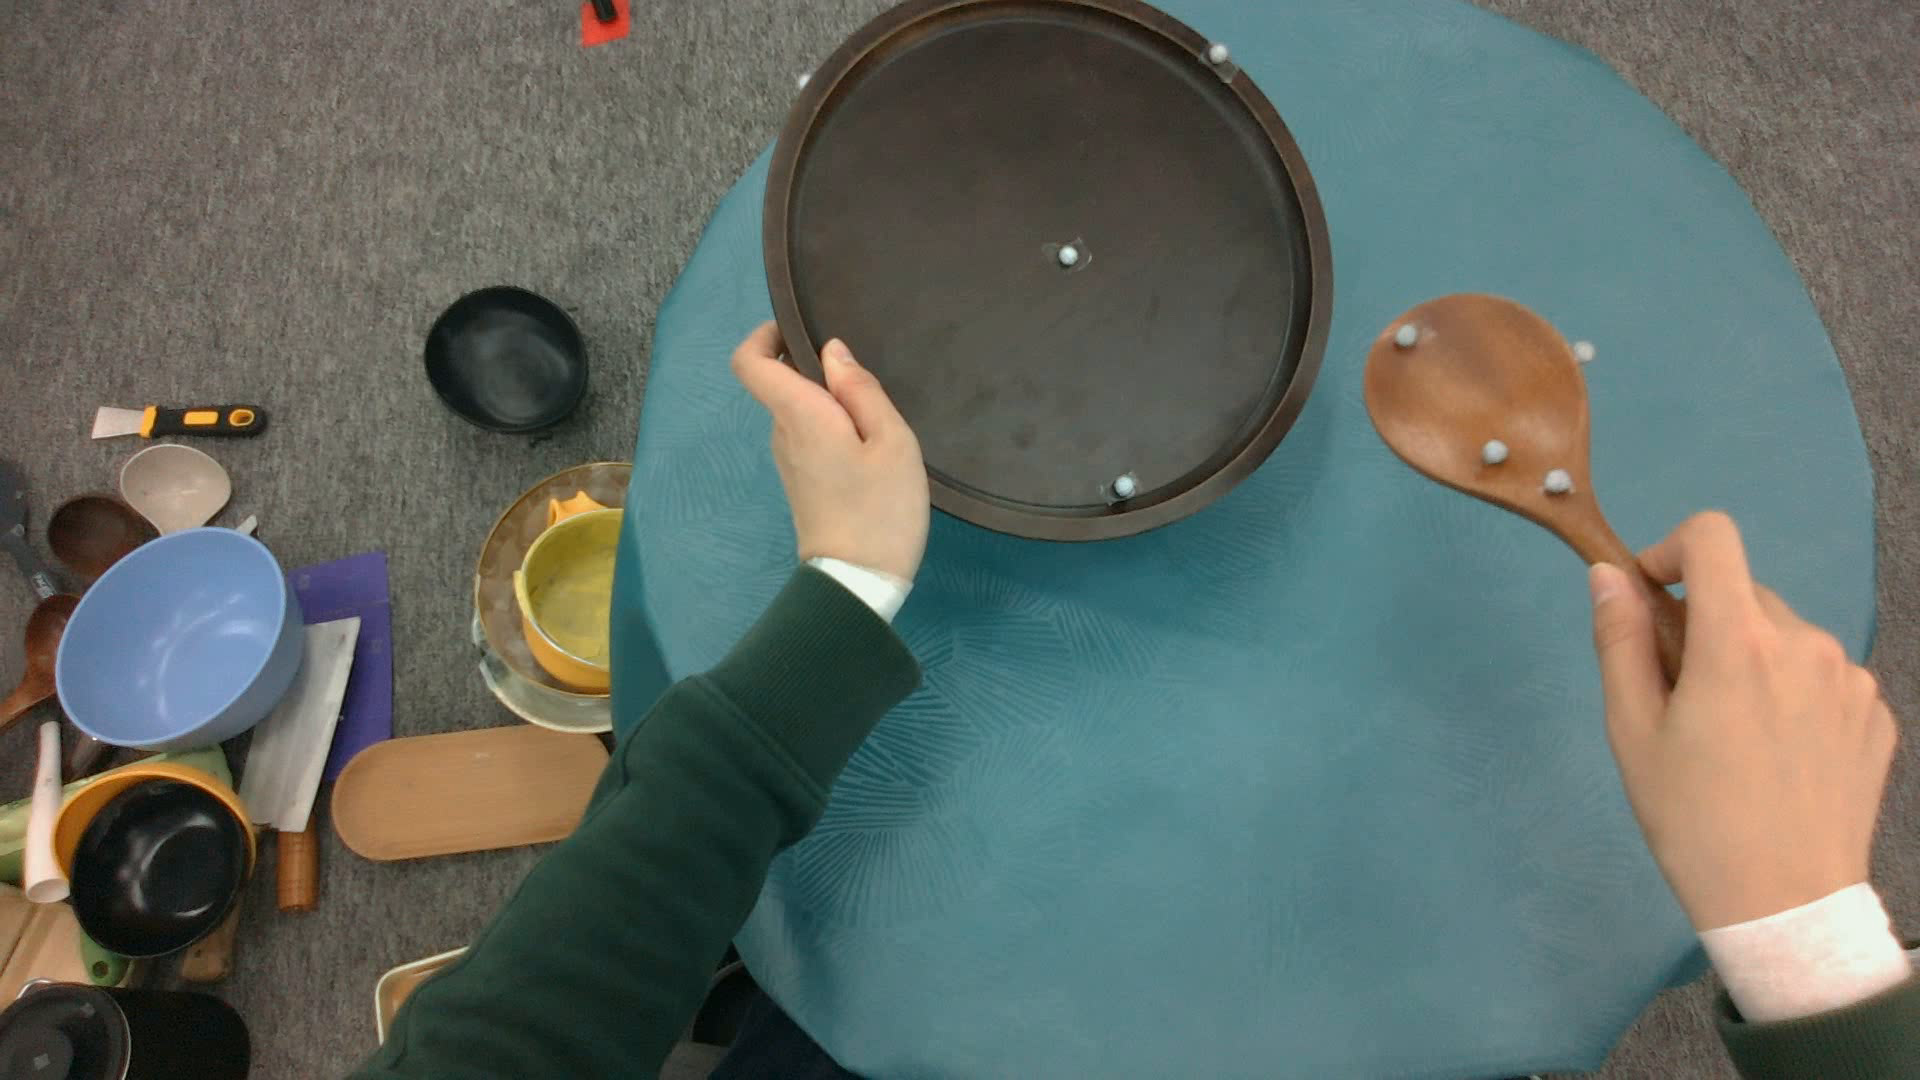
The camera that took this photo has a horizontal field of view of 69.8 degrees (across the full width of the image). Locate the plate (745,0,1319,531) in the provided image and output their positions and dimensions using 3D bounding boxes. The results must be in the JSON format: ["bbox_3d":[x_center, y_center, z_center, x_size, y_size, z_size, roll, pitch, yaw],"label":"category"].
[{"bbox_3d":[0.034,-0.127,0.596,0.255,0.029,0.255,3,78,-12],"label":"plate"}]

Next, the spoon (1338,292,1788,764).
[{"bbox_3d":[0.209,-0.012,0.488,0.075,0.017,0.216,-29,53,3],"label":"spoon"}]
